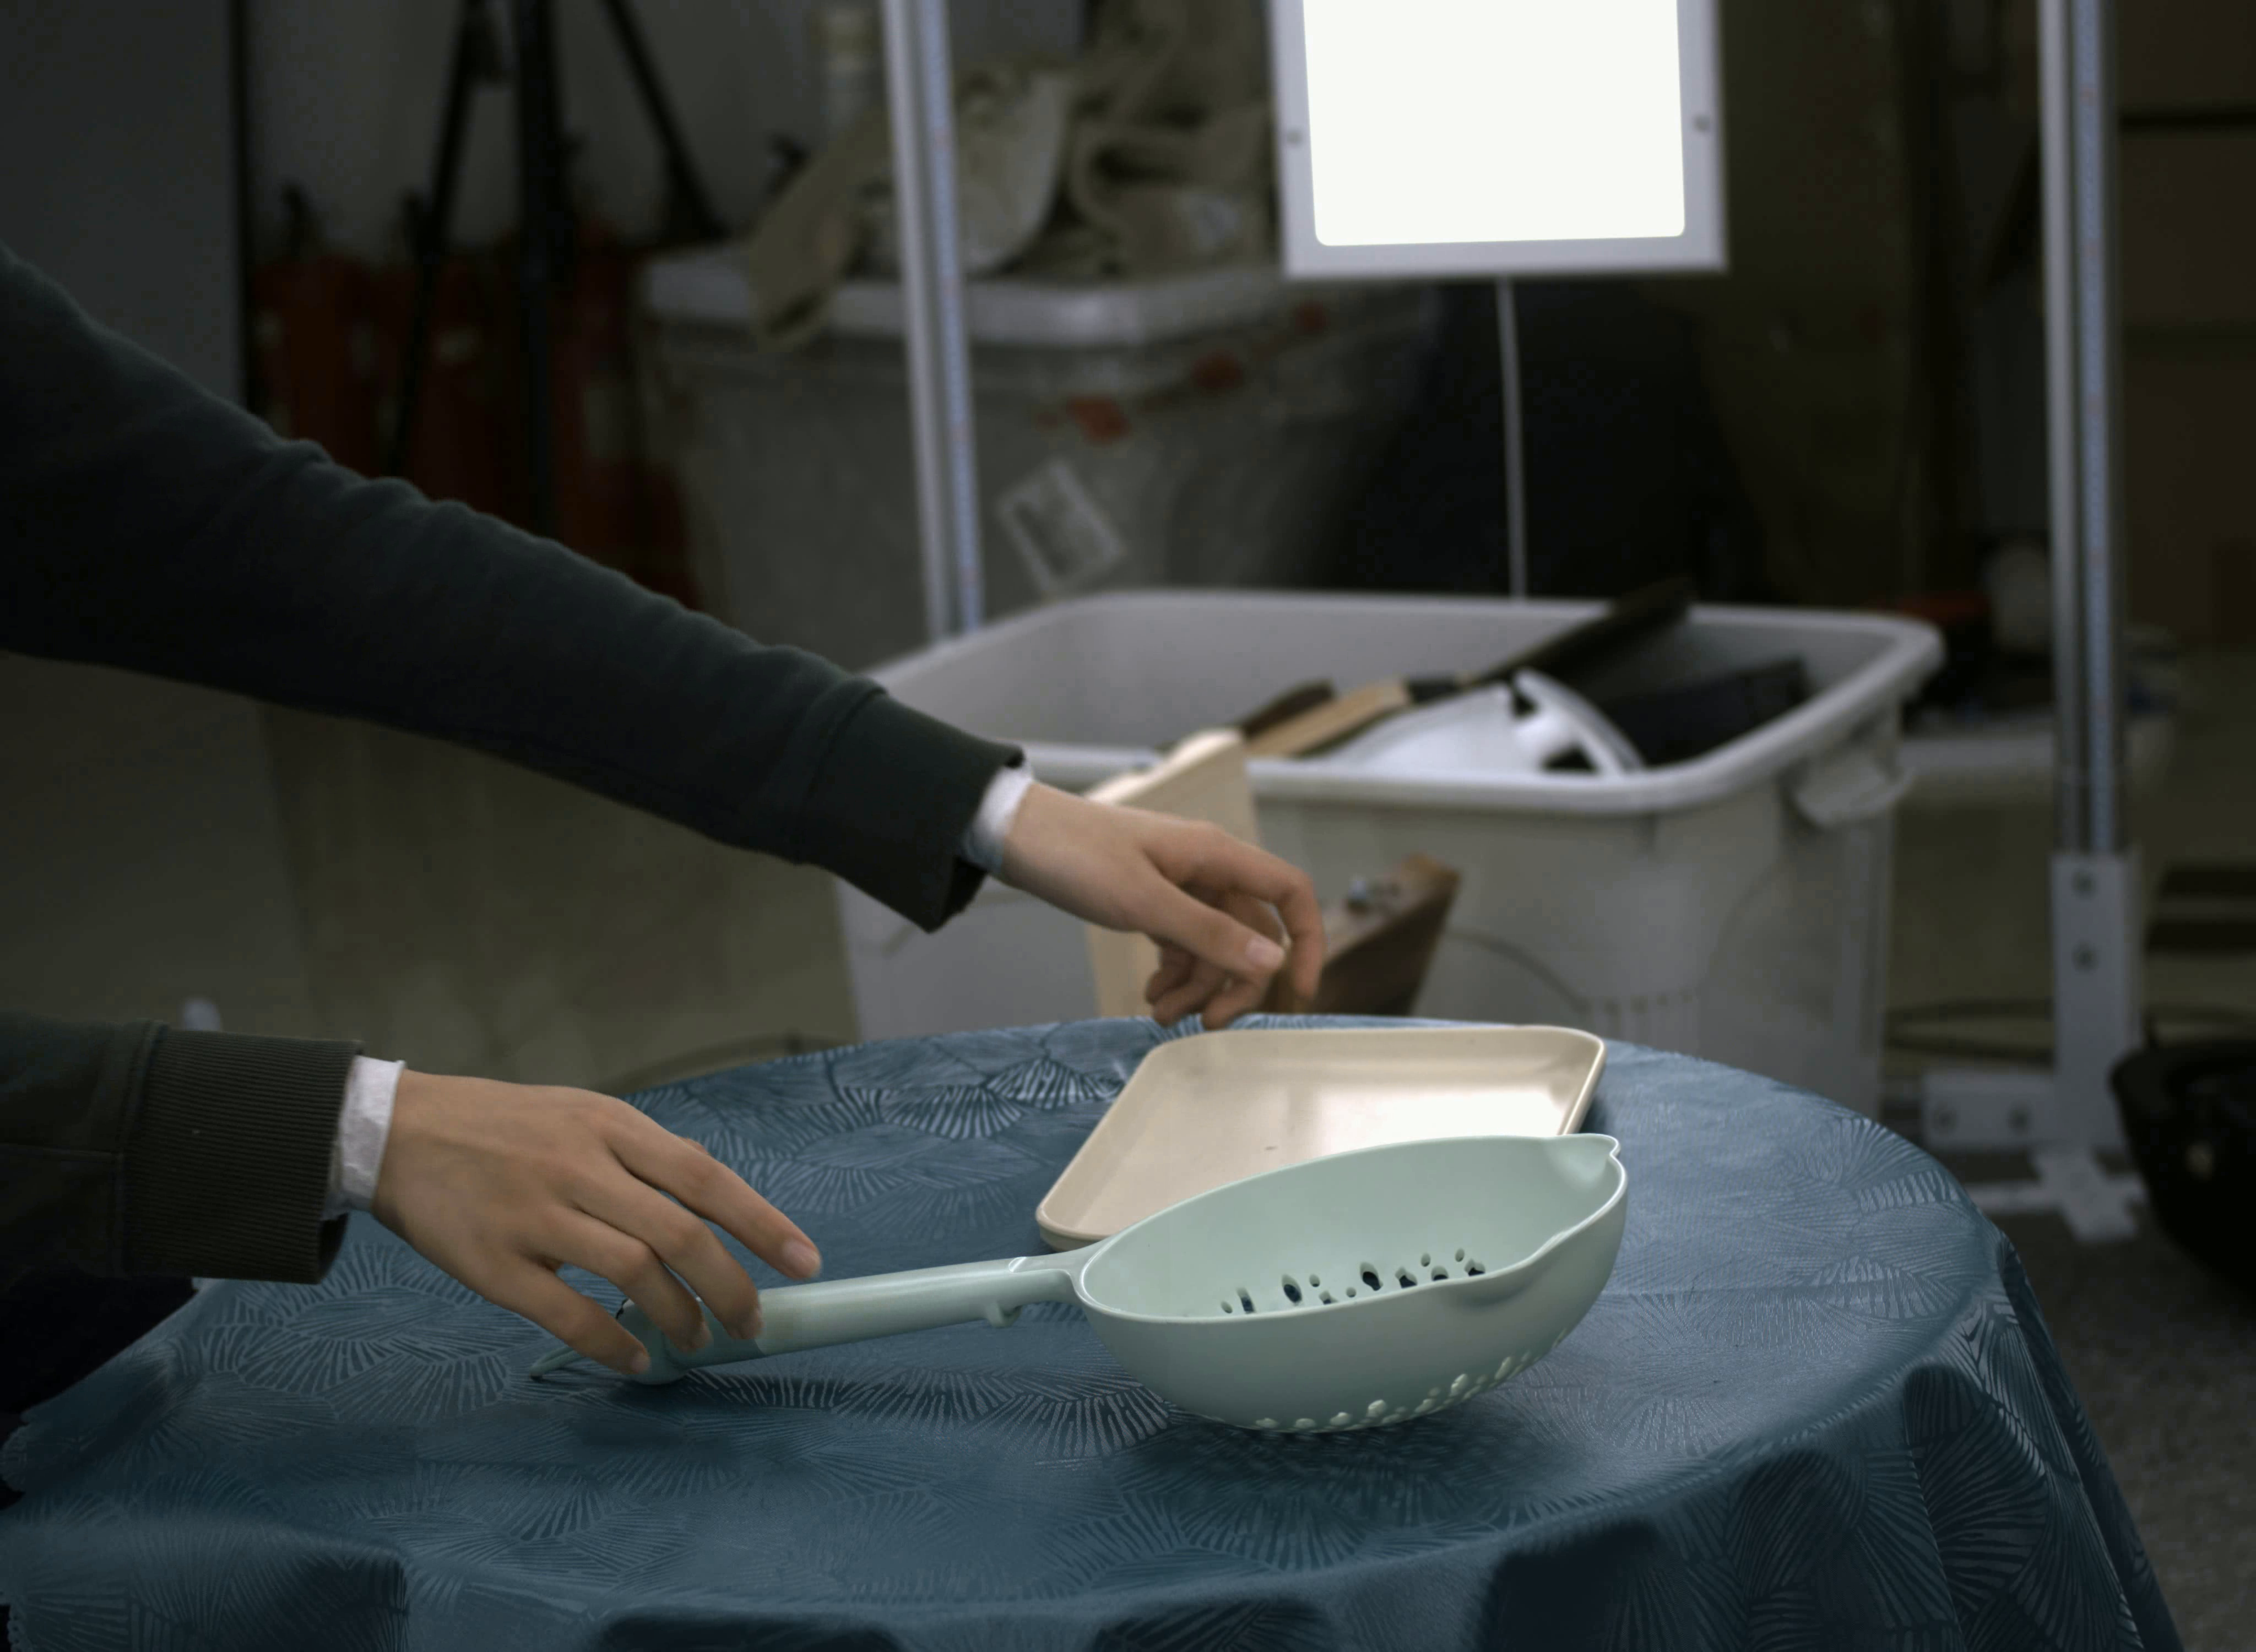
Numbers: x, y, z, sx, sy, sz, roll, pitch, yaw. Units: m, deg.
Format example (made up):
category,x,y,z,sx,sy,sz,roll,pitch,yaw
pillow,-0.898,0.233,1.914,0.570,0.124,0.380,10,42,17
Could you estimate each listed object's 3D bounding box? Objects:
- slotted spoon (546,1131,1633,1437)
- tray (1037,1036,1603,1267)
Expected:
category,x,y,z,sx,sy,sz,roll,pitch,yaw
slotted spoon,-0.019,0.145,1.695,0.363,0.075,0.166,0,14,21
tray,0.071,0.112,1.898,0.173,0.017,0.236,-1,13,13
